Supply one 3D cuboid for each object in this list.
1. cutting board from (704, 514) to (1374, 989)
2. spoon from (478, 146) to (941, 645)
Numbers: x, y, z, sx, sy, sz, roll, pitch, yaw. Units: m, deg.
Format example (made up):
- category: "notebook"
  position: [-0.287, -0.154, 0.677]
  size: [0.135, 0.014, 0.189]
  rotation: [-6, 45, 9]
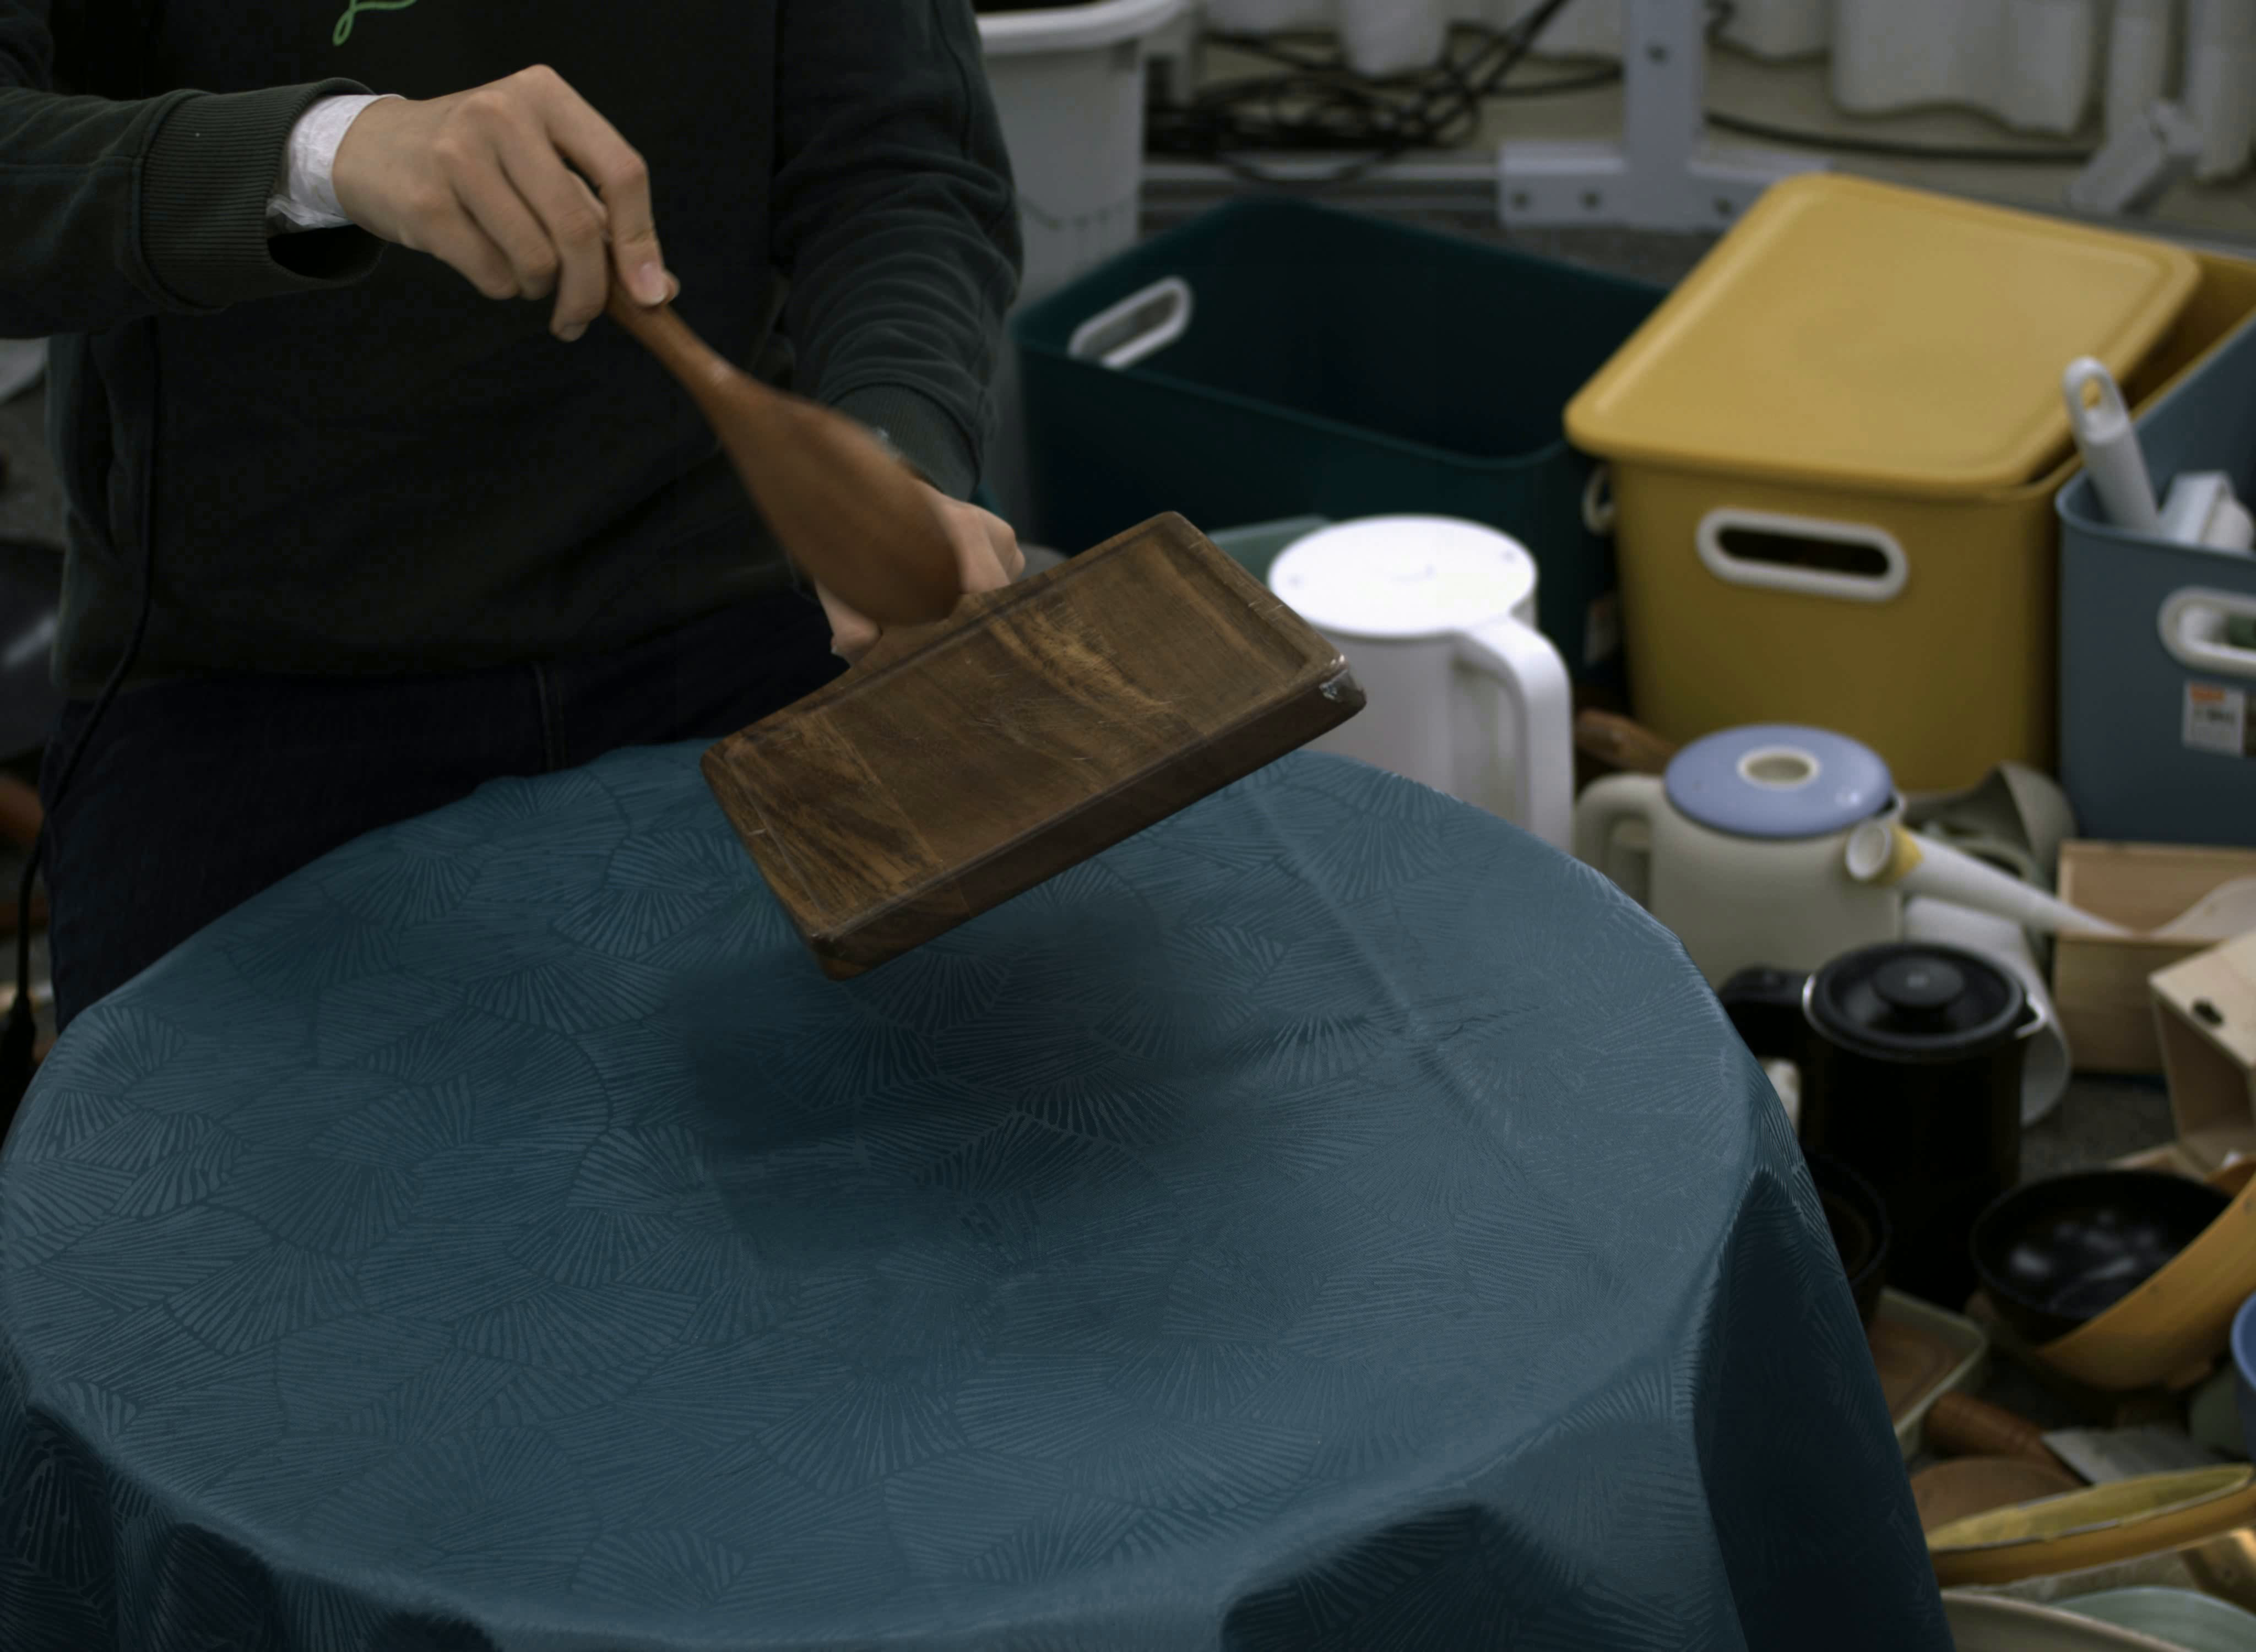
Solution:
- category: "cutting board"
  position: [-0.047, -0.042, 1.947]
  size: [0.201, 0.023, 0.354]
  rotation: [-29, 18, -5]
- category: "spoon"
  position: [-0.140, -0.141, 1.864]
  size: [0.017, 0.074, 0.216]
  rotation: [-38, 82, -32]
